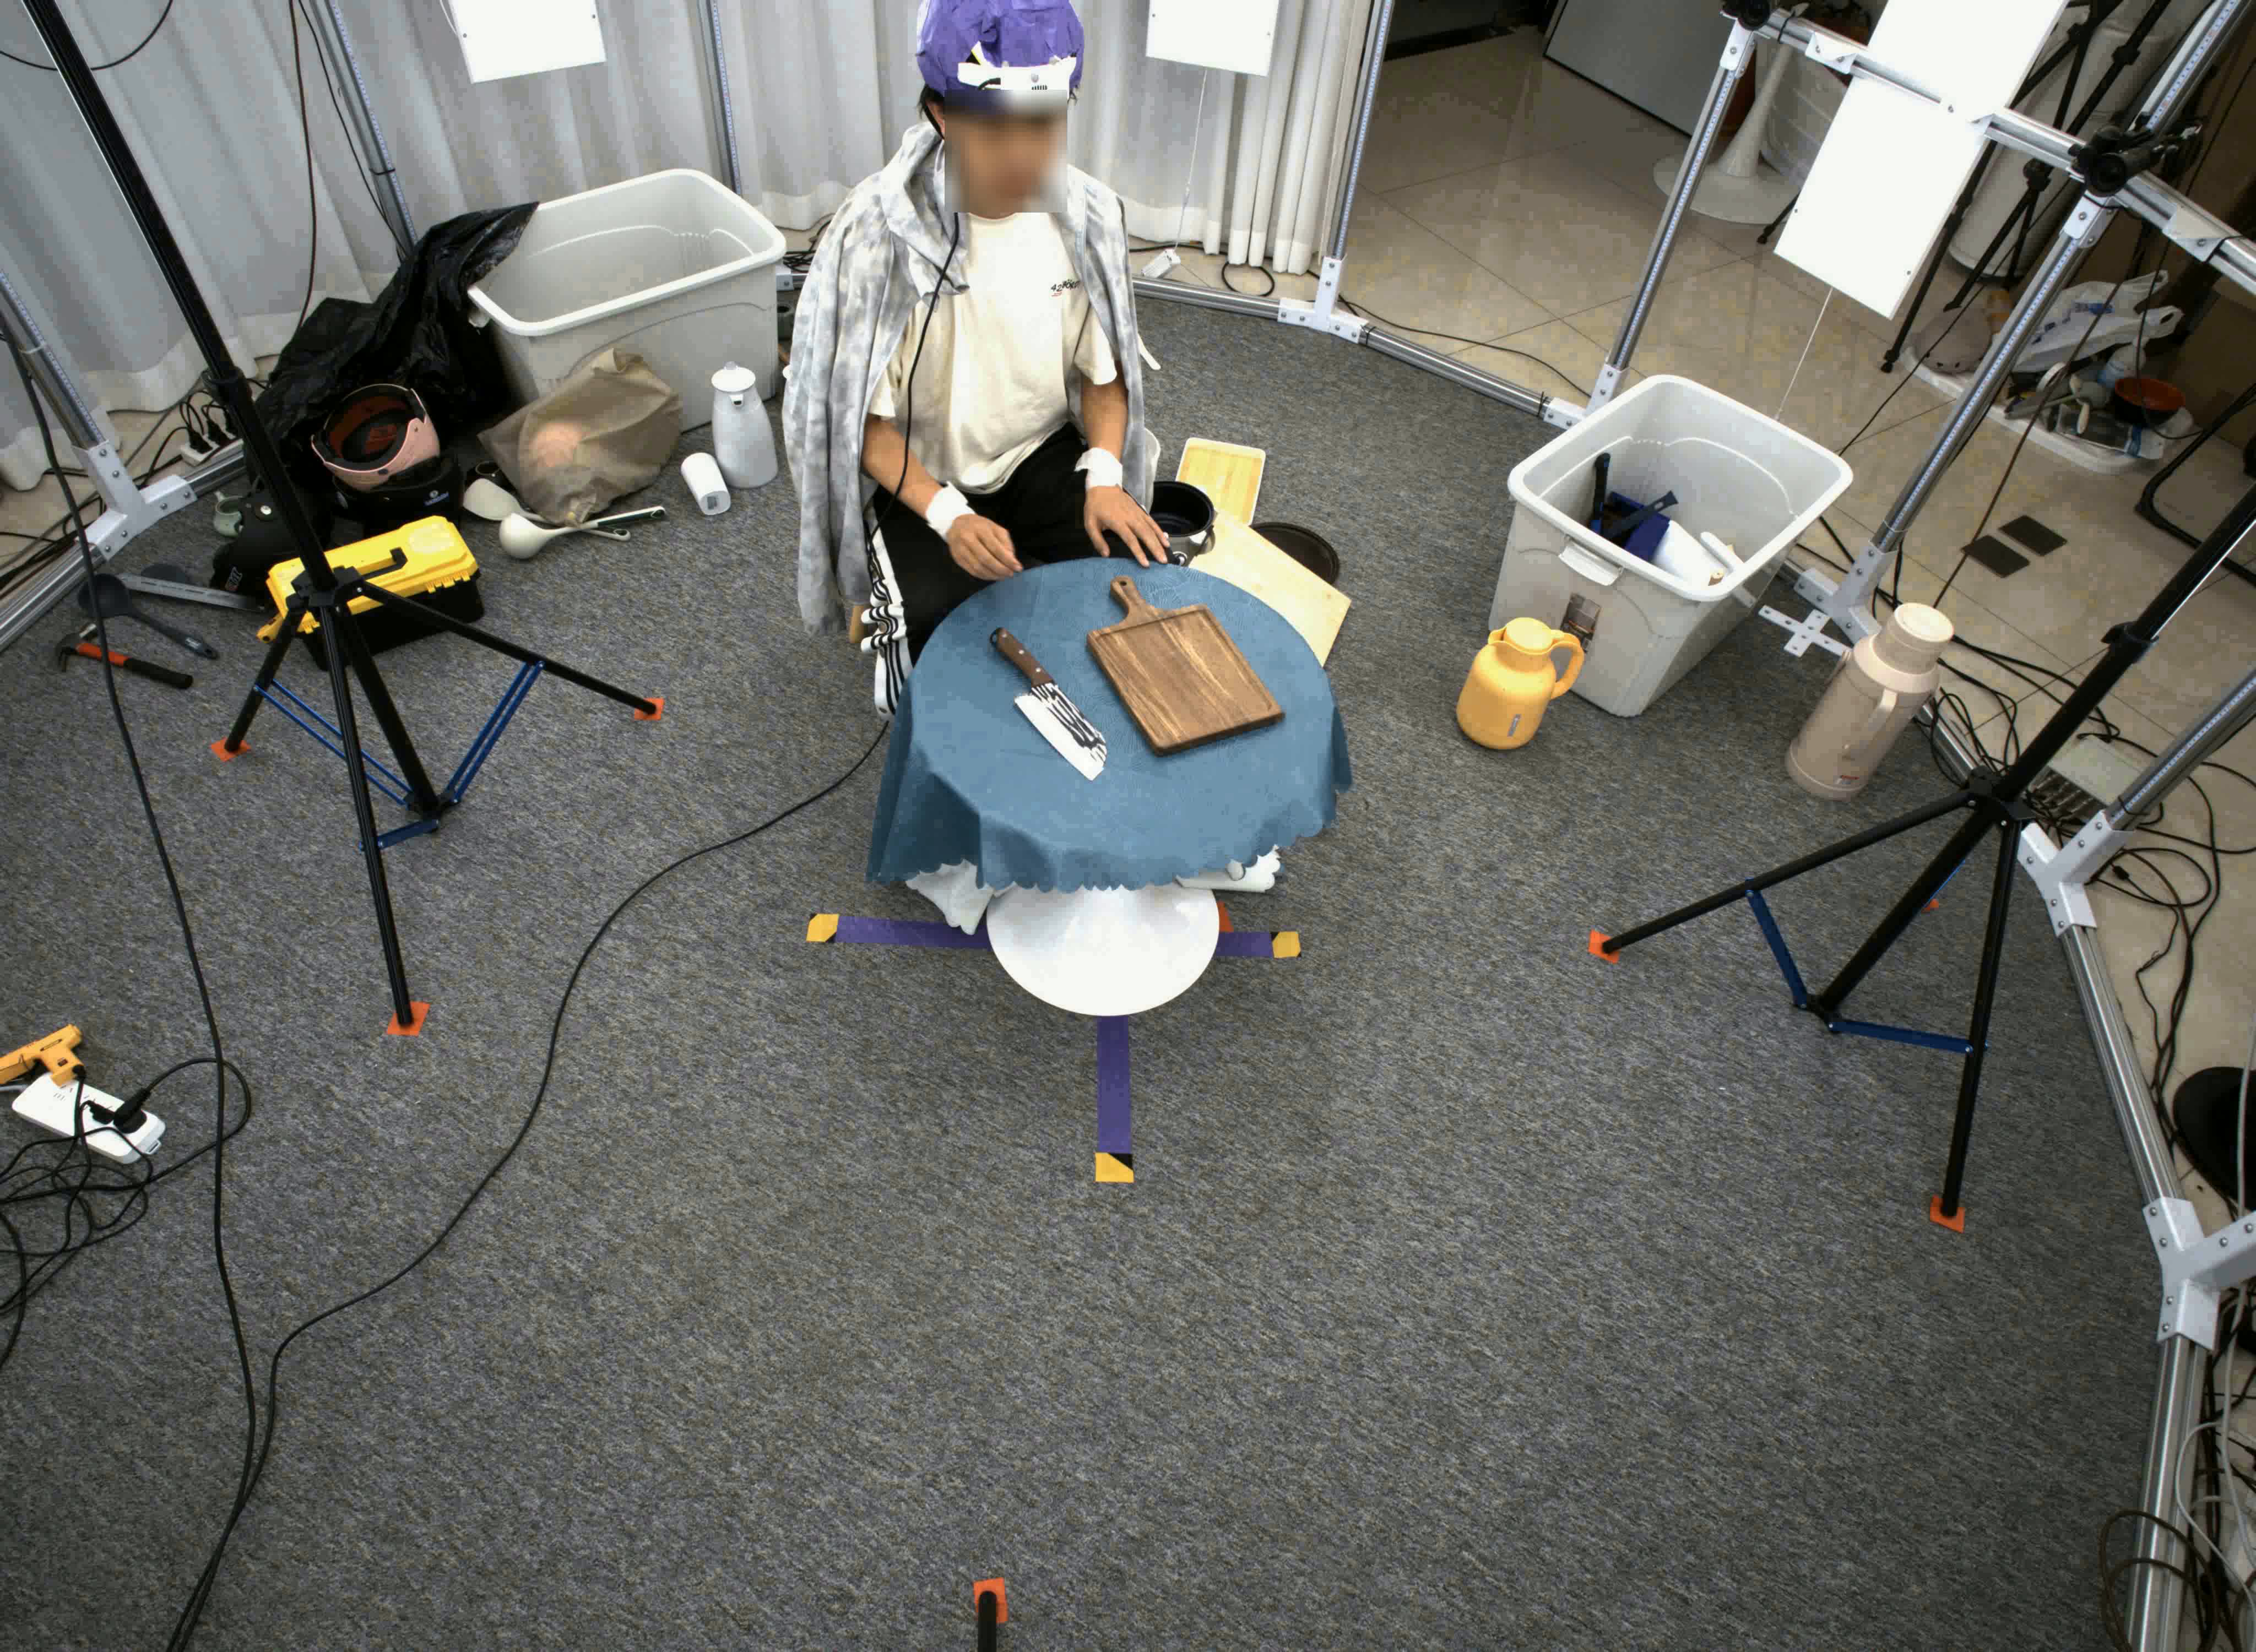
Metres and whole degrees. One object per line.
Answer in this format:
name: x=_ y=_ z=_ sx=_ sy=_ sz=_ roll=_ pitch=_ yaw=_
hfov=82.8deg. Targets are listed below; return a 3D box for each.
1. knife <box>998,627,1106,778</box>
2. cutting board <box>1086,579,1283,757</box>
knife: x=-0.116 y=-0.175 z=1.792 sx=0.068 sy=0.023 sz=0.305 roll=-26 pitch=58 yaw=-22
cutting board: x=0.057 y=-0.250 z=1.872 sx=0.201 sy=0.022 sz=0.360 roll=-18 pitch=52 yaw=-17
